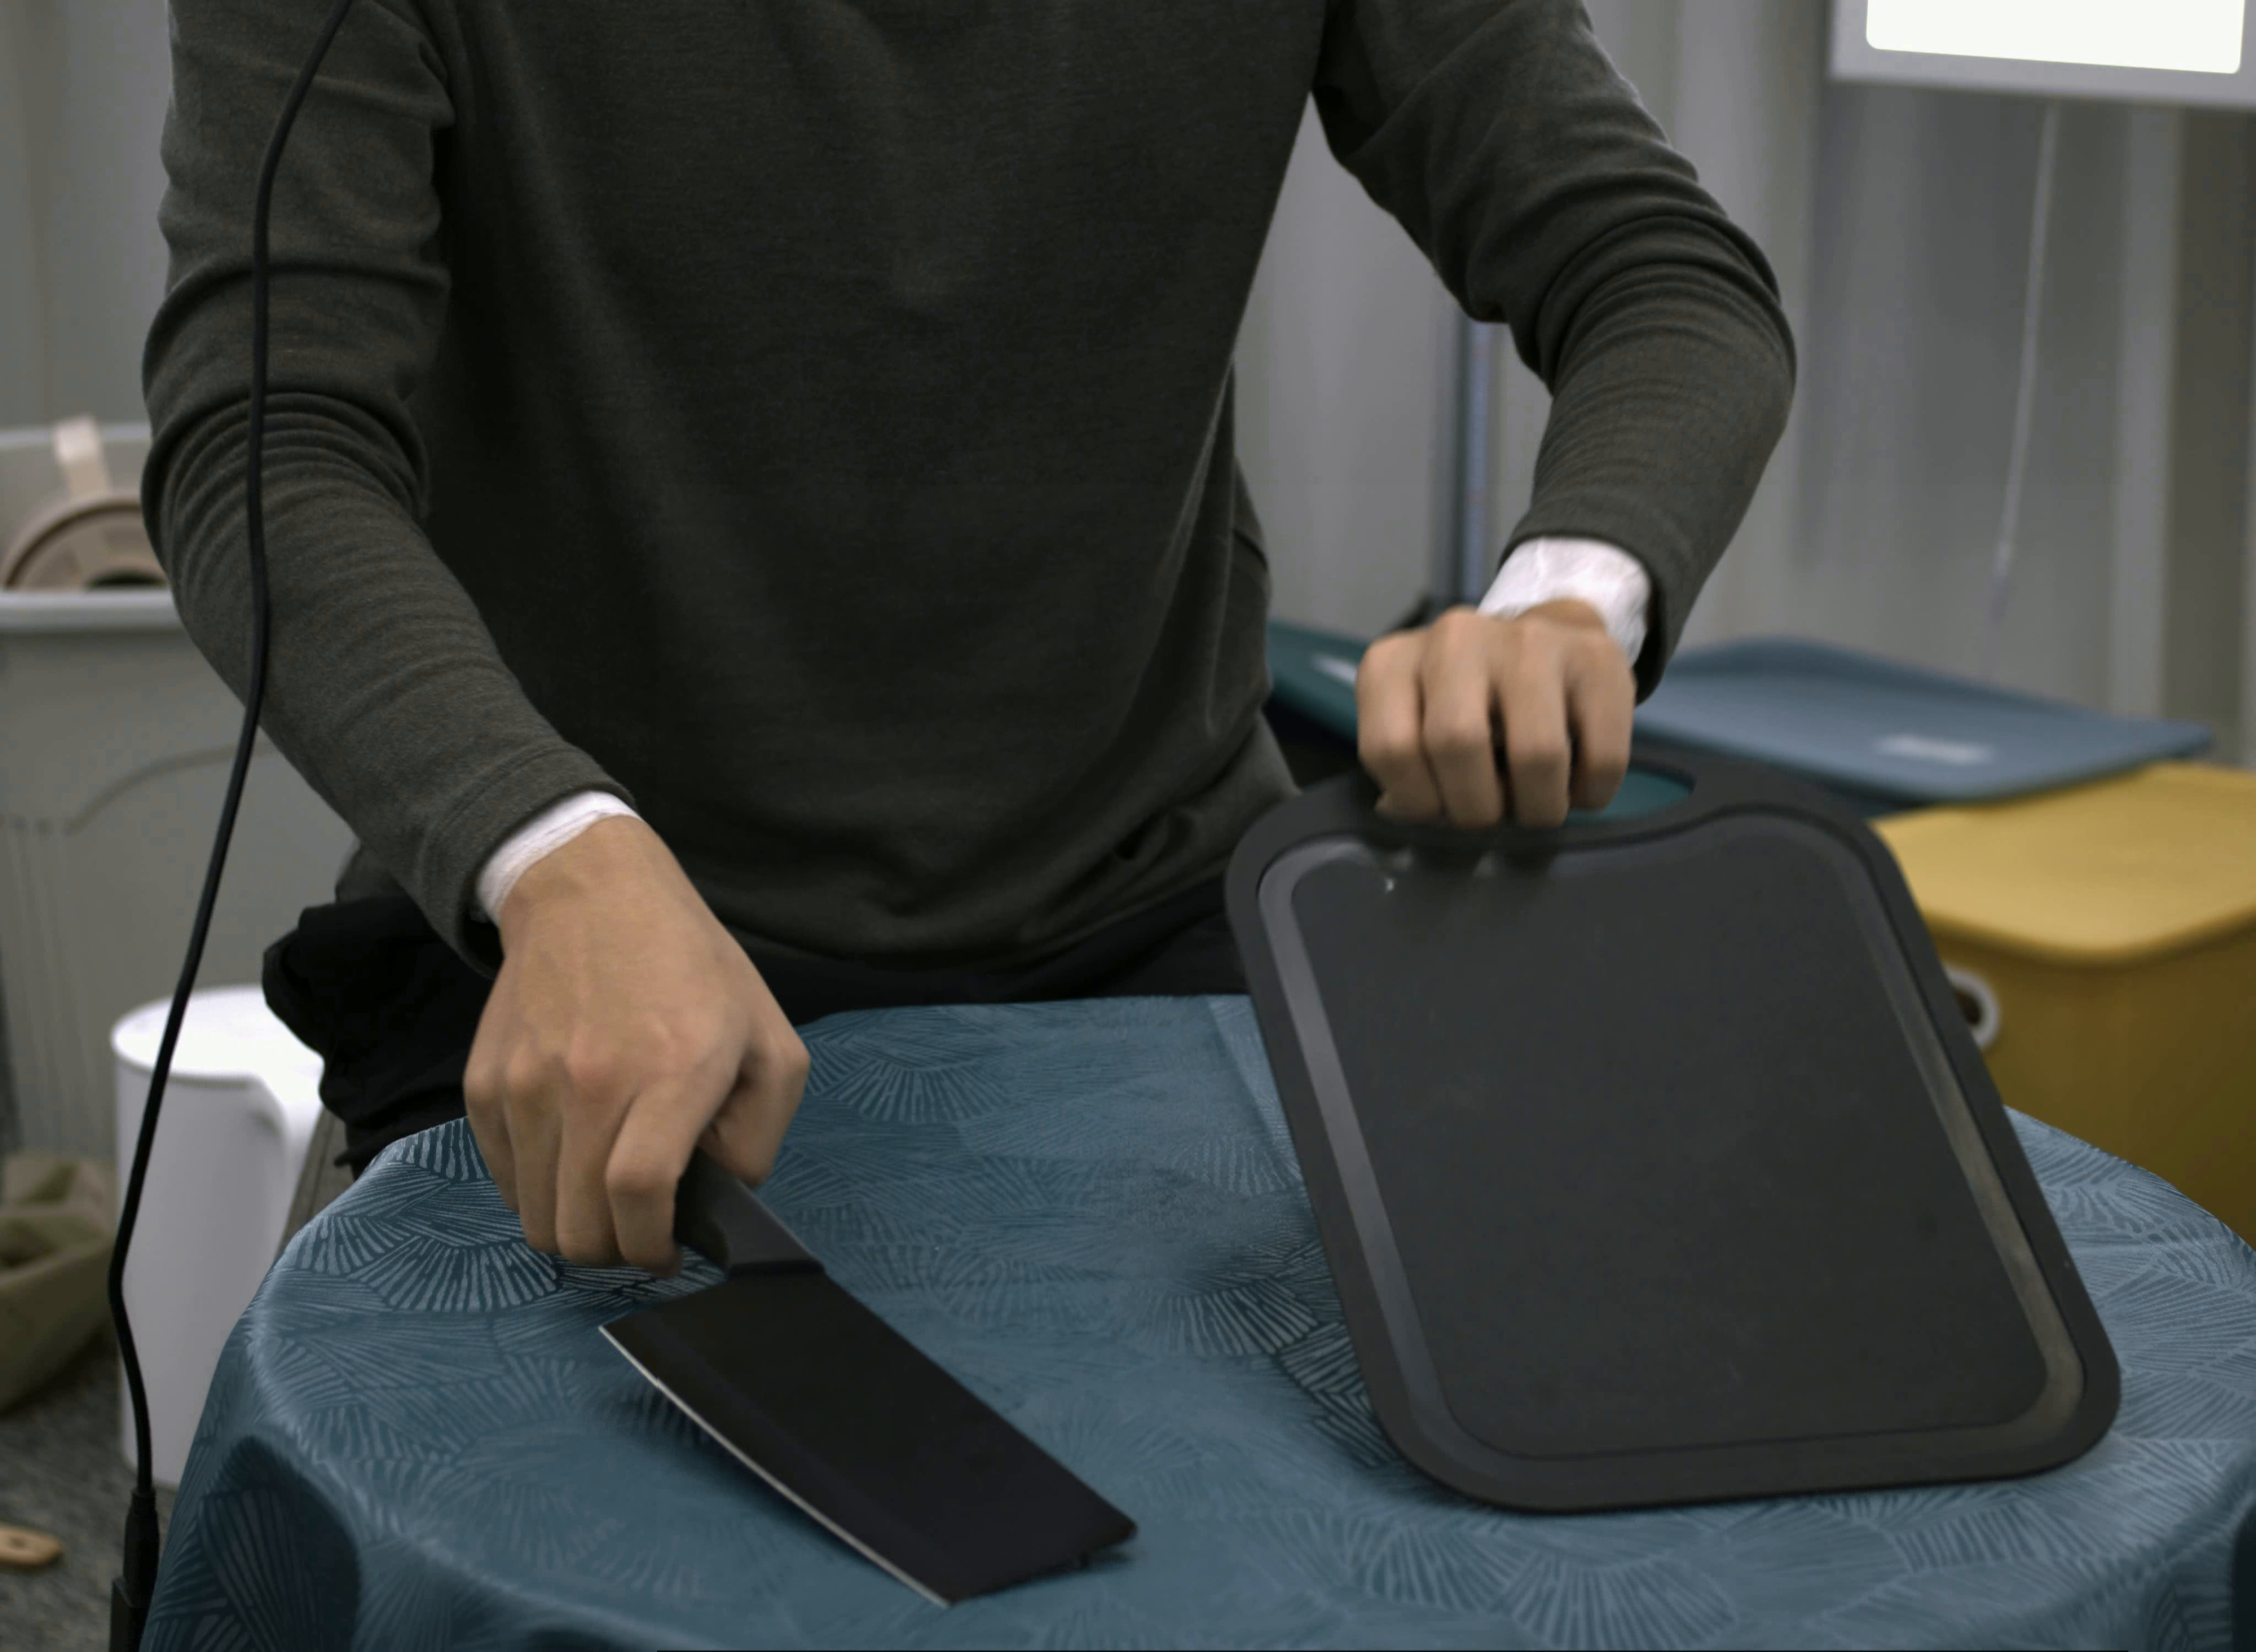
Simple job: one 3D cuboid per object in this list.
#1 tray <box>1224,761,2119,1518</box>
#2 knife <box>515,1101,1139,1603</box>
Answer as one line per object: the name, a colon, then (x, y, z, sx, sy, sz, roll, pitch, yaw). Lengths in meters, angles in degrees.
tray: (0.147, 0.078, 1.510, 0.211, 0.010, 0.322, -2, 38, -11)
knife: (-0.099, 0.140, 1.447, 0.081, 0.021, 0.298, -13, 26, -26)
